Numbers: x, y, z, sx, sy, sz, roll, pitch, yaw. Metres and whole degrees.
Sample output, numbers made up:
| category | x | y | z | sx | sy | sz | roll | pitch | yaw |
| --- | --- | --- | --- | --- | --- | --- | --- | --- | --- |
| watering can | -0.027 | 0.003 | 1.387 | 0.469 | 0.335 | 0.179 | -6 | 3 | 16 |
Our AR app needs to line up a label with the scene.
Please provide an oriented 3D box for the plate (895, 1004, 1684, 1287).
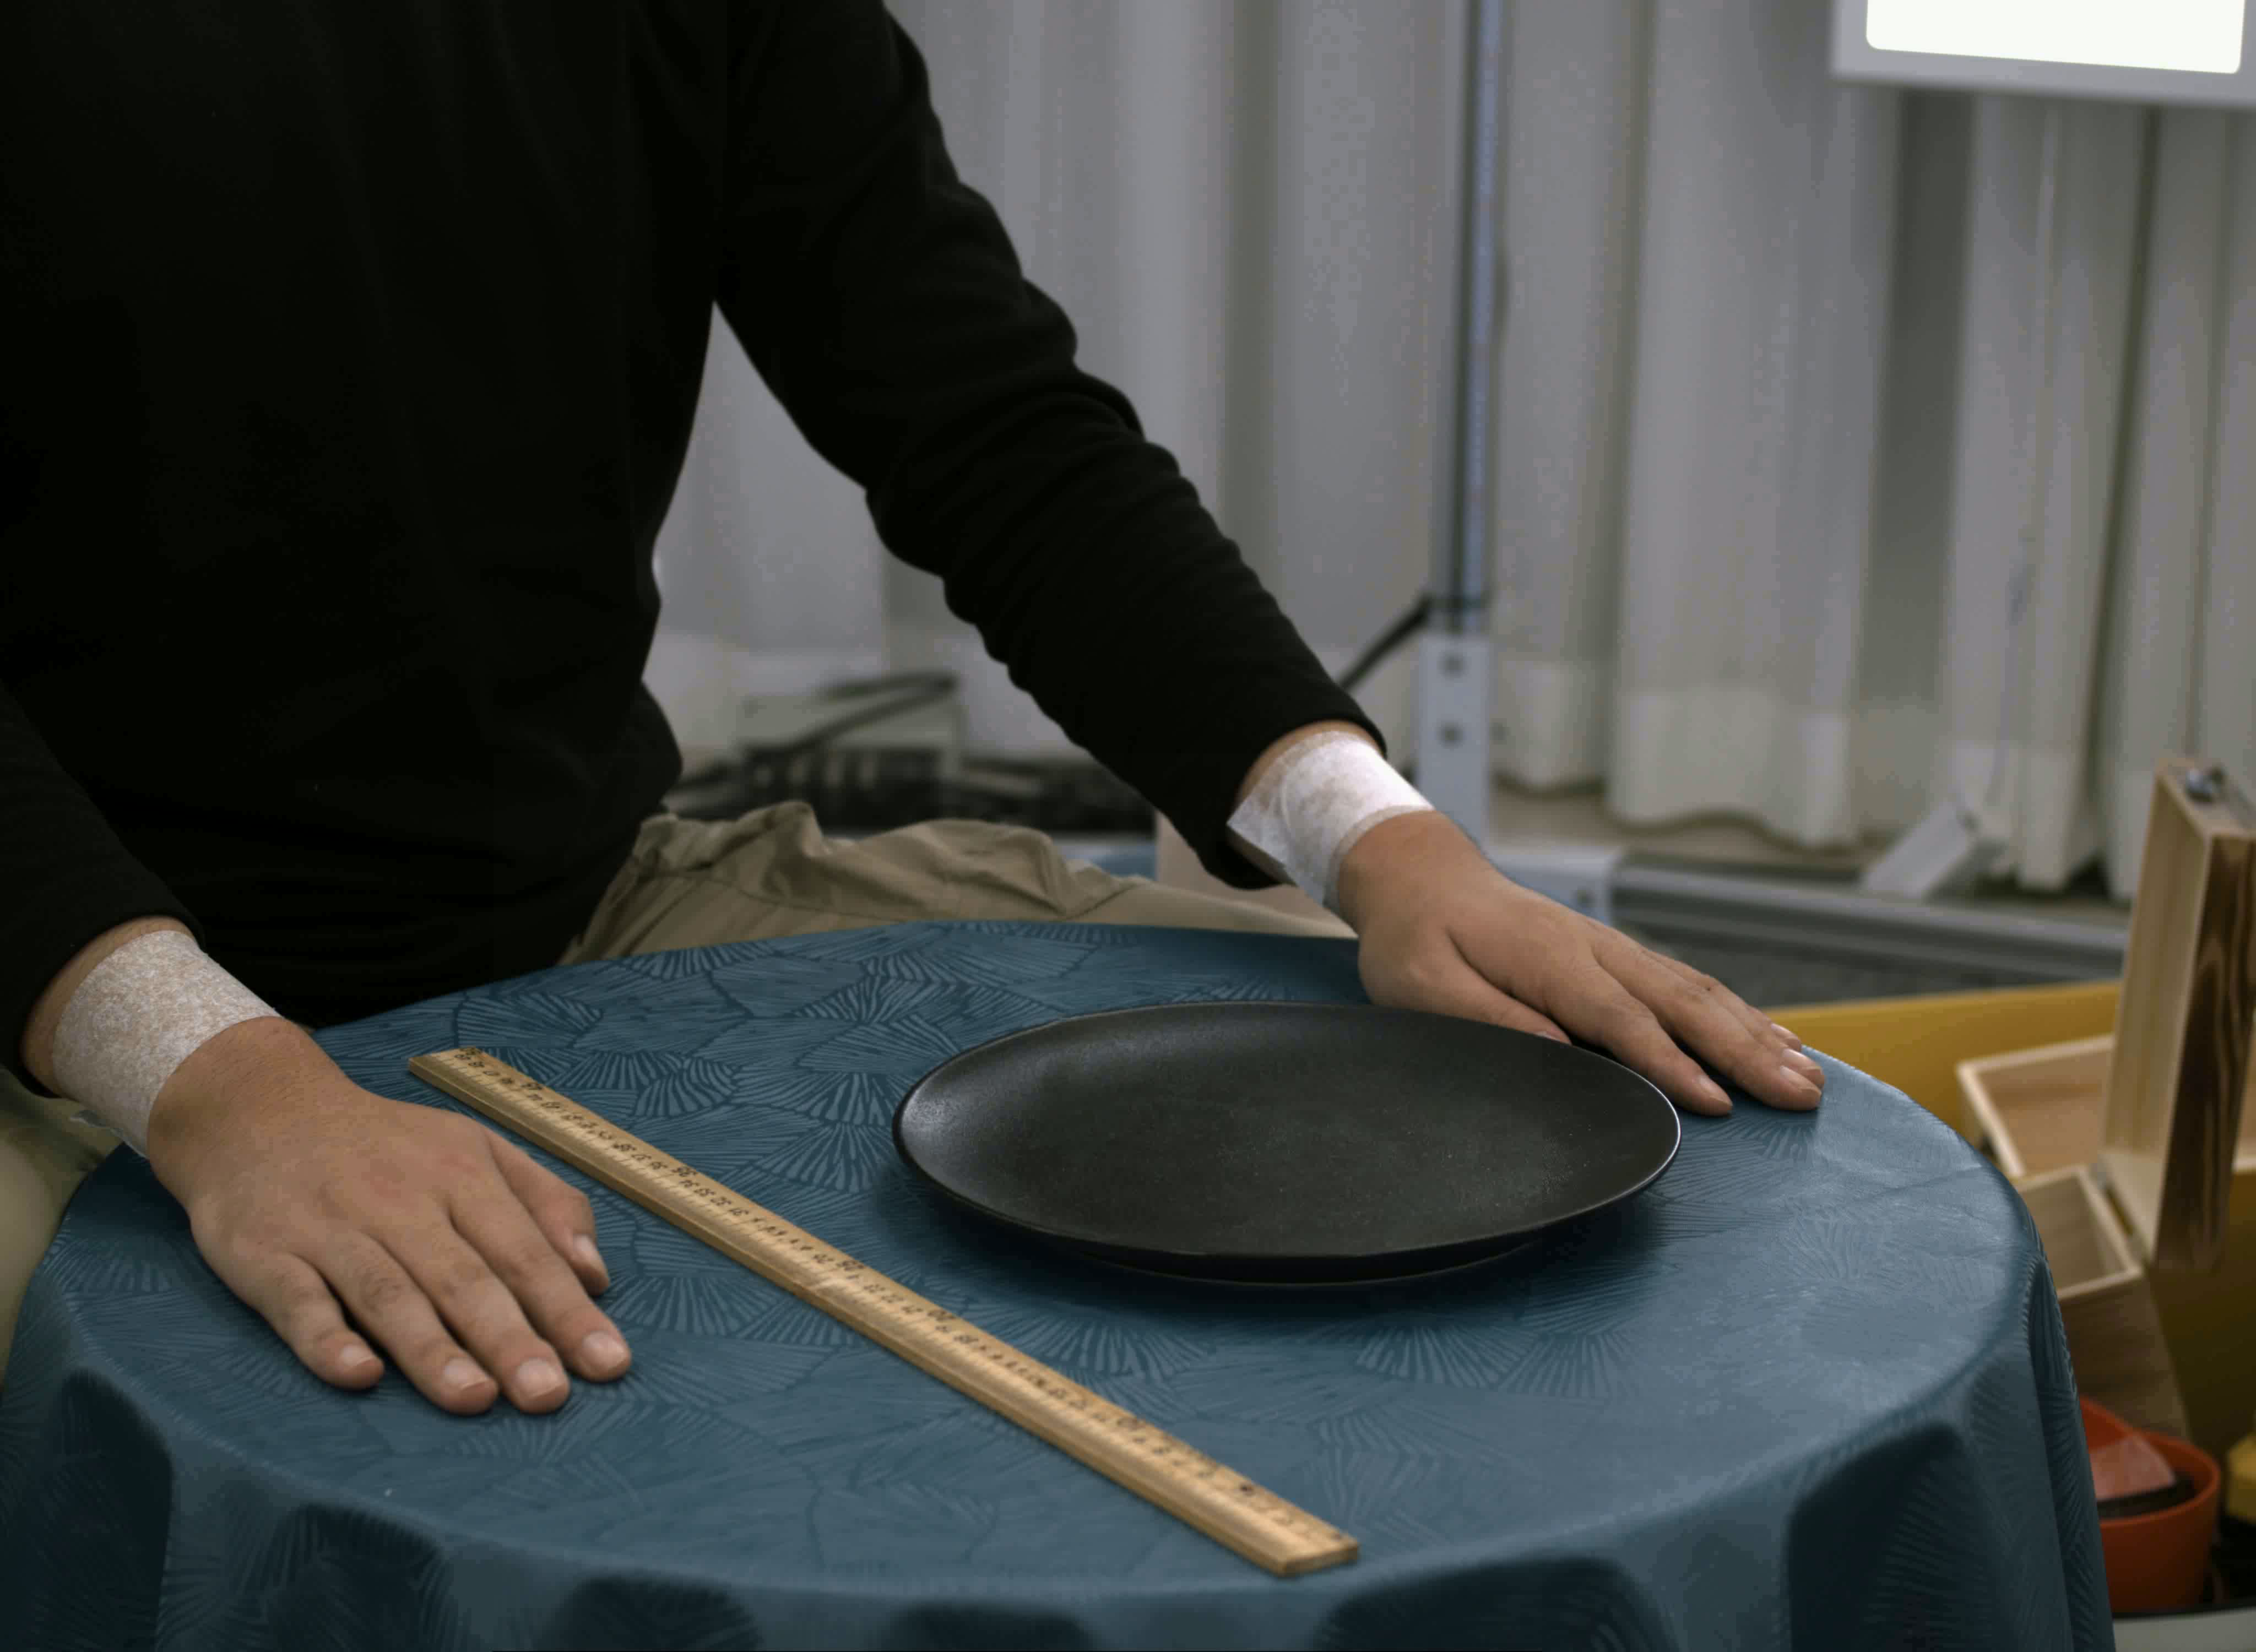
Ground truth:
| category | x | y | z | sx | sy | sz | roll | pitch | yaw |
| --- | --- | --- | --- | --- | --- | --- | --- | --- | --- |
| plate | 0.050 | 0.100 | 1.623 | 0.243 | 0.023 | 0.243 | 0 | 15 | 0 |

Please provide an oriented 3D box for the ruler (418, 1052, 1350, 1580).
| category | x | y | z | sx | sy | sz | roll | pitch | yaw |
| --- | --- | --- | --- | --- | --- | --- | --- | --- | --- |
| ruler | -0.087 | 0.132 | 1.537 | 0.027 | 0.006 | 0.494 | -7 | 17 | -33 |
